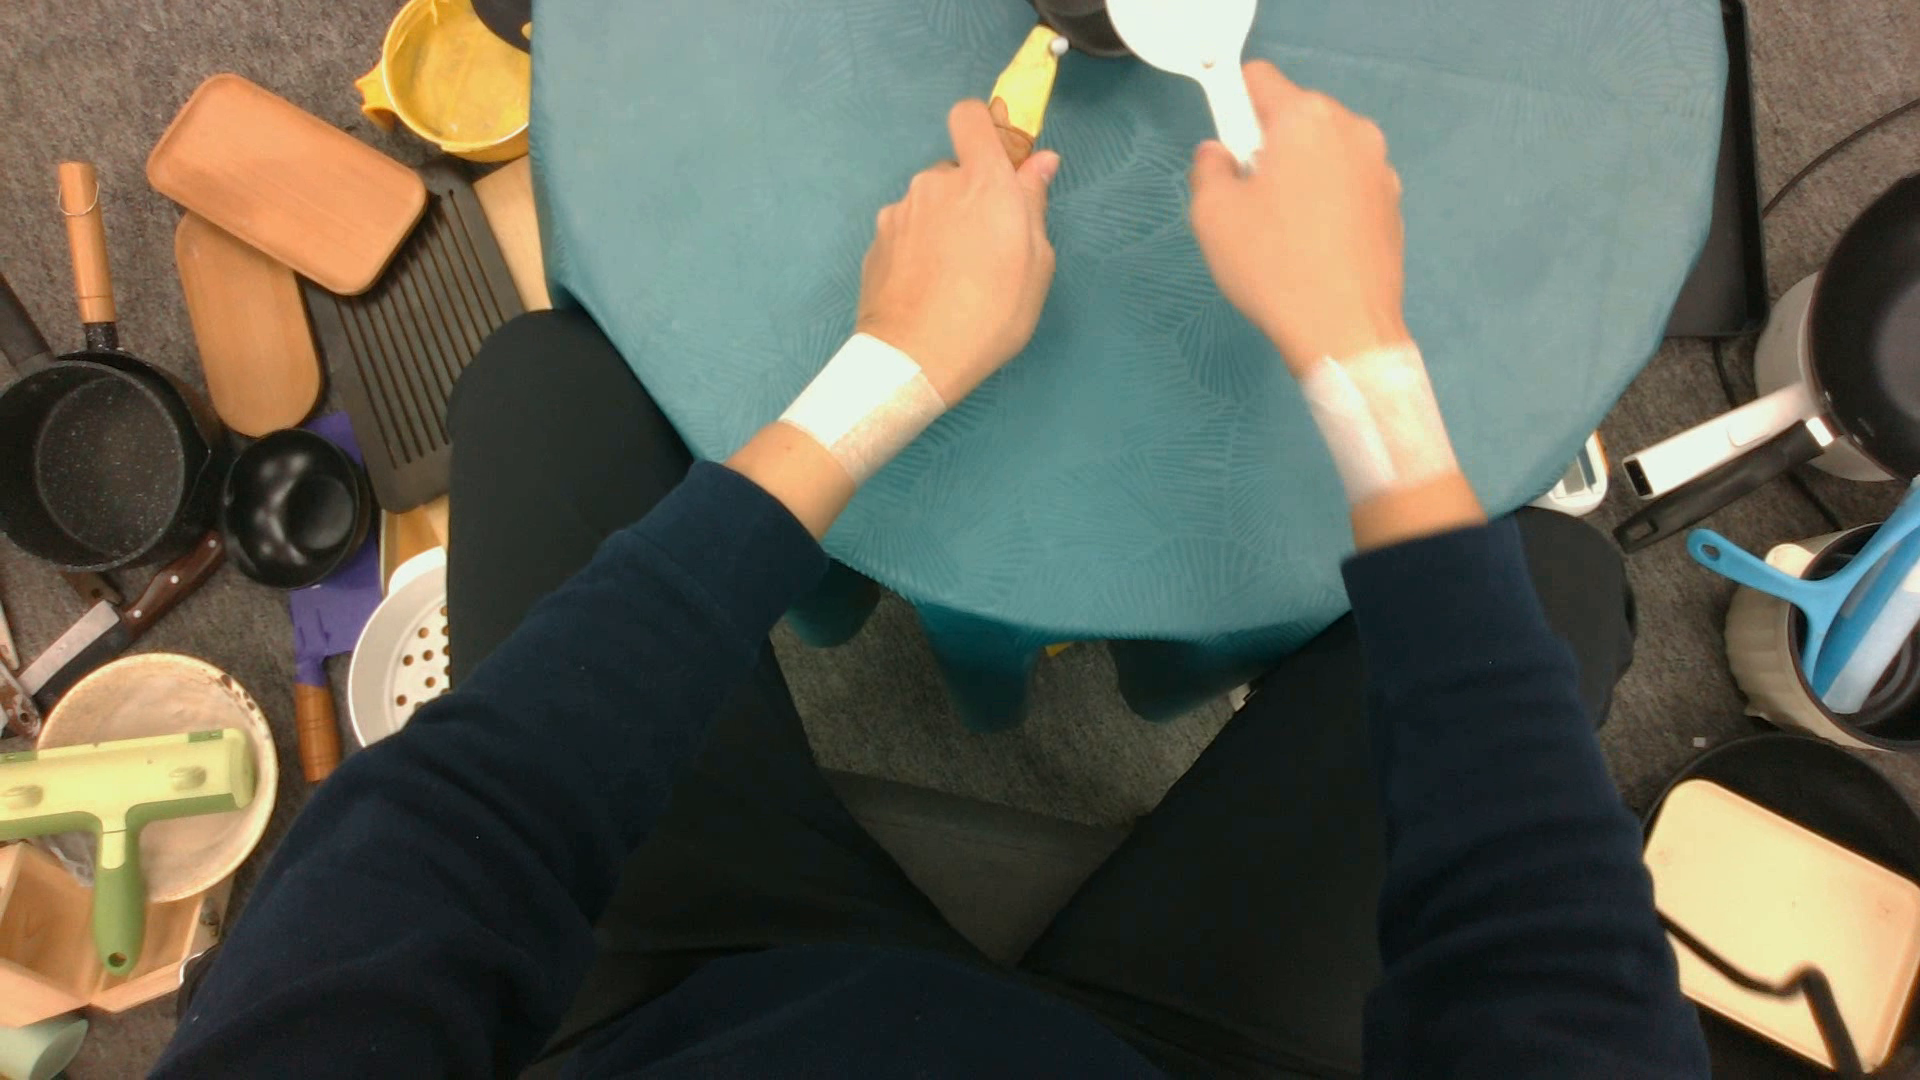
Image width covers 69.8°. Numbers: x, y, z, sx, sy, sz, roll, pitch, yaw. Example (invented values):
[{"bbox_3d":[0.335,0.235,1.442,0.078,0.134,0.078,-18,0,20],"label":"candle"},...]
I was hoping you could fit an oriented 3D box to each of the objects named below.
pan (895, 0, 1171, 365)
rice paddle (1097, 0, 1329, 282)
[{"bbox_3d":[0.028,-0.233,0.632,0.049,0.169,0.324,24,89,41],"label":"pan"},{"bbox_3d":[0.112,-0.209,0.617,0.068,0.029,0.206,-22,69,13],"label":"rice paddle"}]
